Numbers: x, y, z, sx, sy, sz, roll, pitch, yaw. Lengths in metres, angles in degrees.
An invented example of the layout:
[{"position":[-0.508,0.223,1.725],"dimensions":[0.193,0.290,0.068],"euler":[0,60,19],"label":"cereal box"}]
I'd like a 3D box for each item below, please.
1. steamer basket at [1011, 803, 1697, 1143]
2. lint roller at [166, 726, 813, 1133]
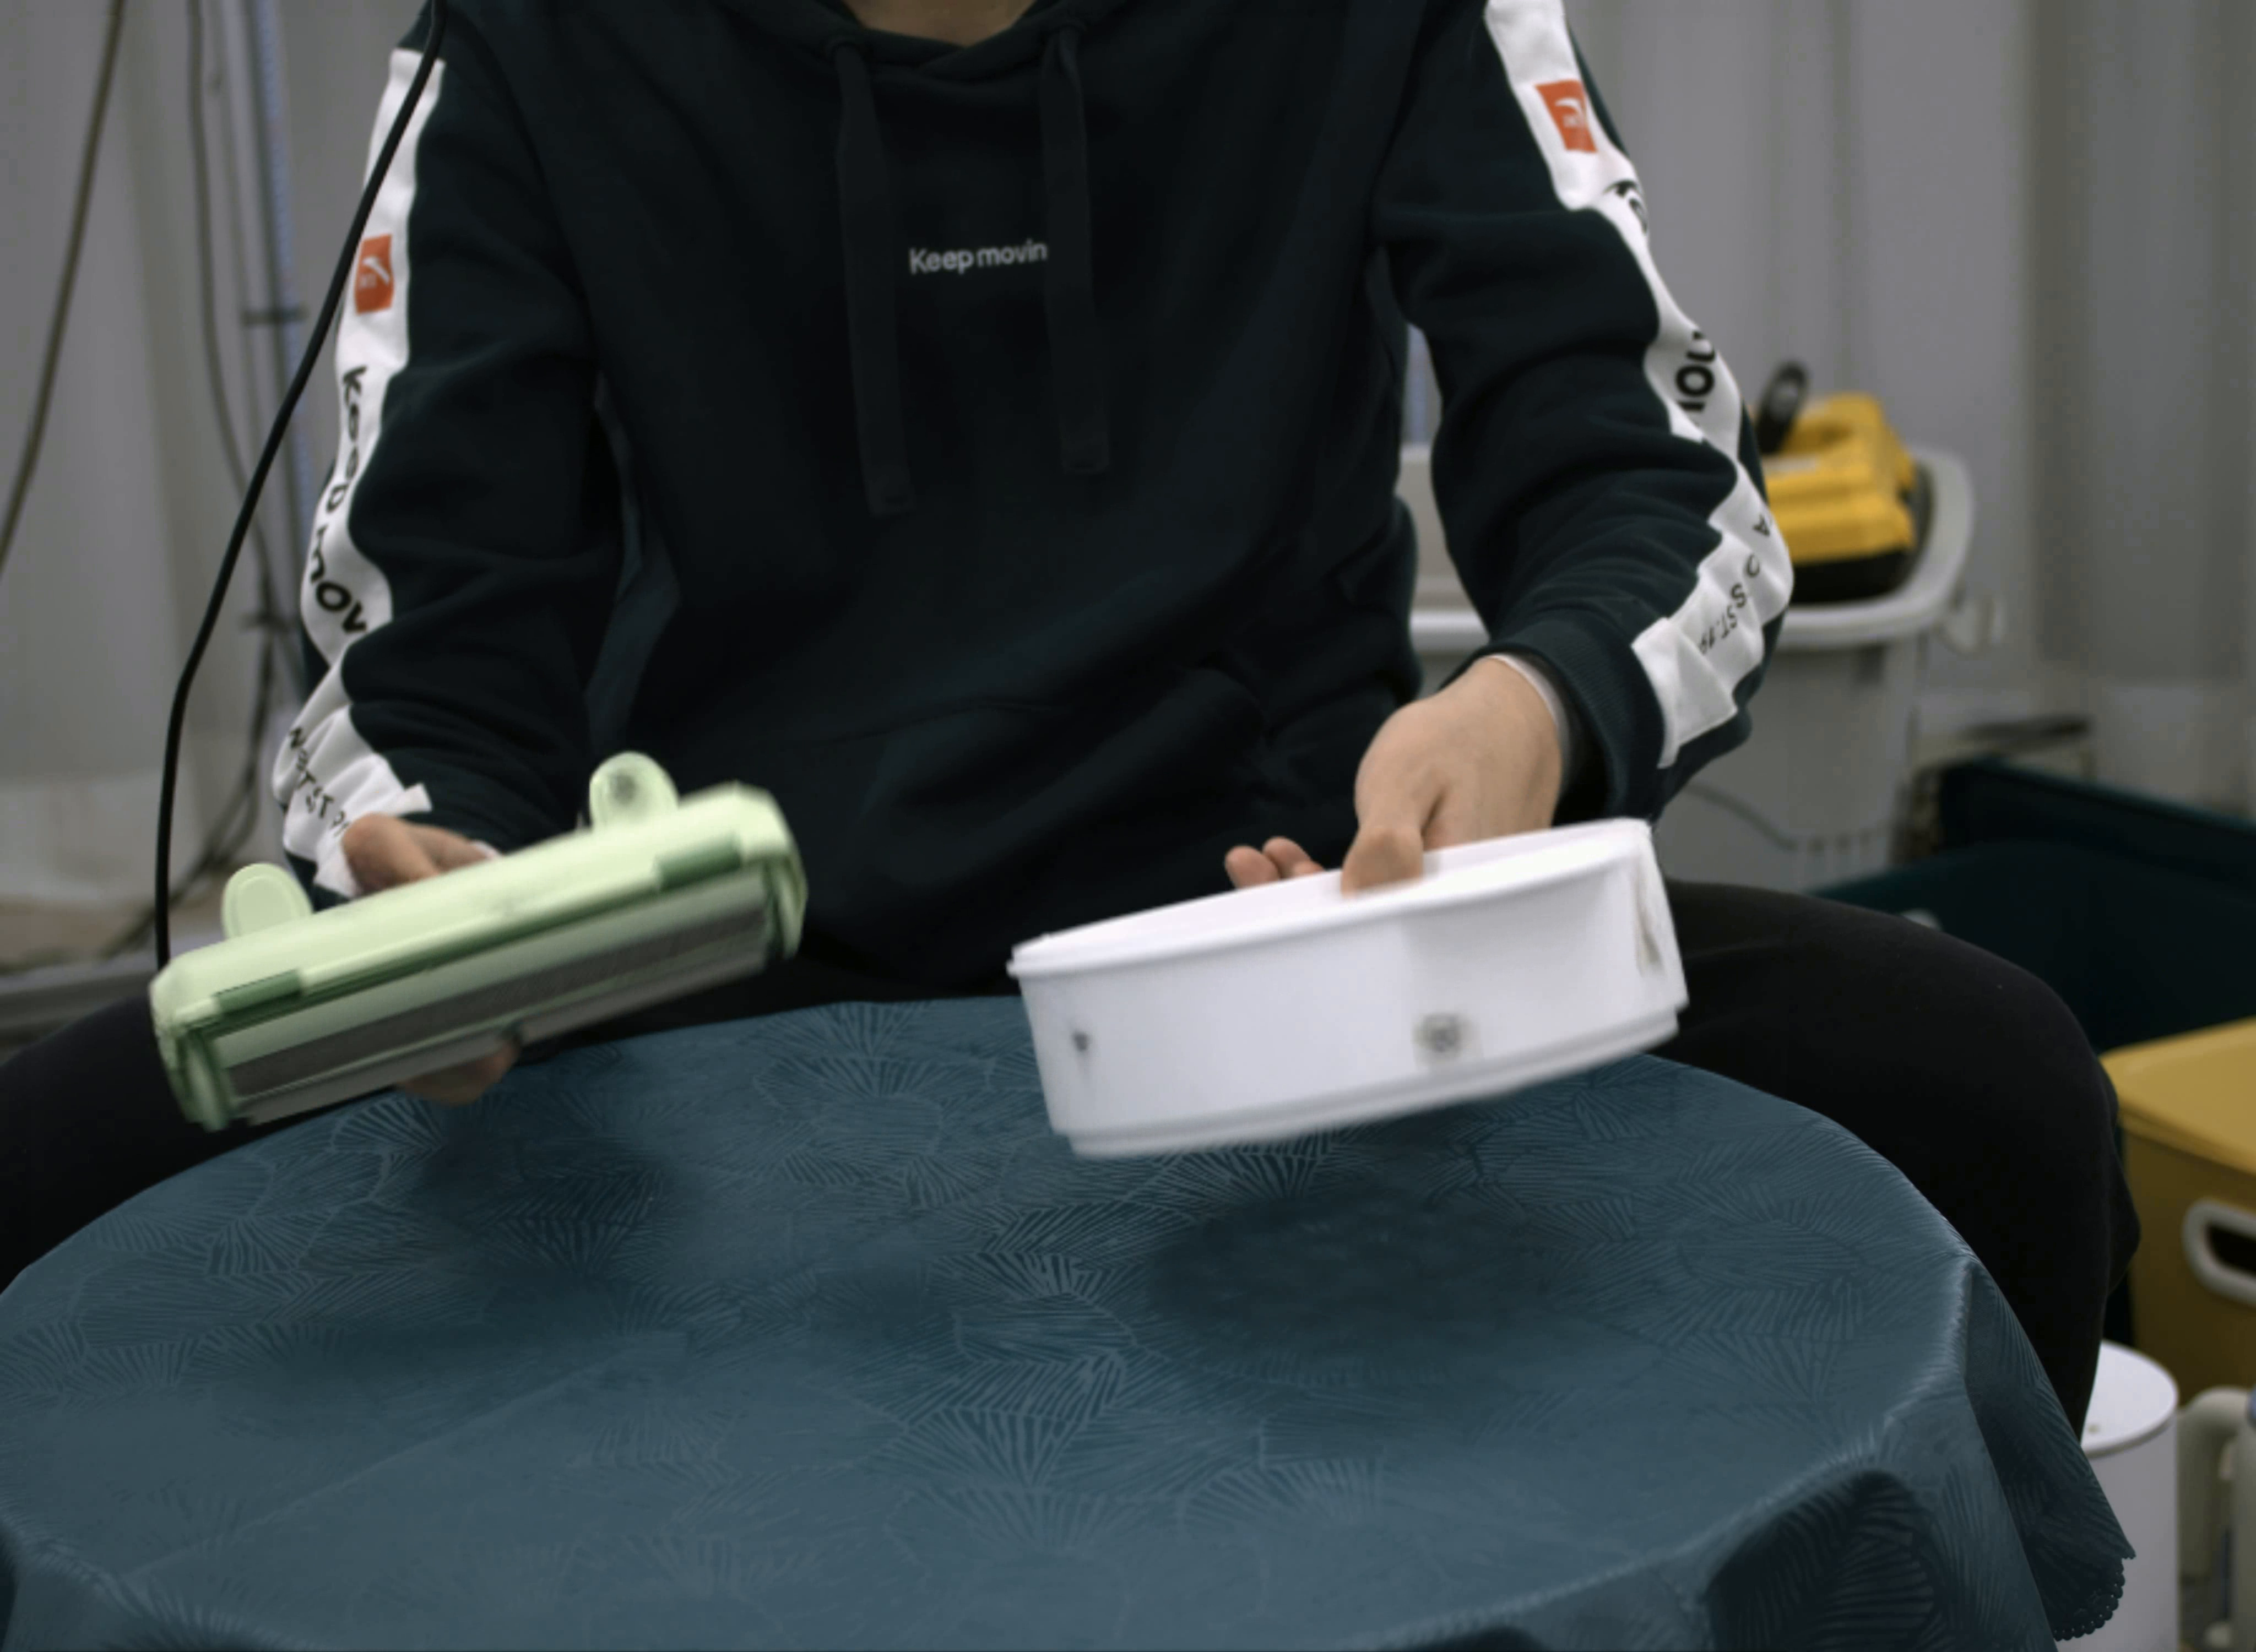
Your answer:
[{"position":[0.069,0.045,1.621],"dimensions":[0.201,0.069,0.231],"euler":[-12,2,-31],"label":"steamer basket"},{"position":[-0.205,0.029,1.708],"dimensions":[0.198,0.082,0.183],"euler":[-21,4,-11],"label":"lint roller"}]
